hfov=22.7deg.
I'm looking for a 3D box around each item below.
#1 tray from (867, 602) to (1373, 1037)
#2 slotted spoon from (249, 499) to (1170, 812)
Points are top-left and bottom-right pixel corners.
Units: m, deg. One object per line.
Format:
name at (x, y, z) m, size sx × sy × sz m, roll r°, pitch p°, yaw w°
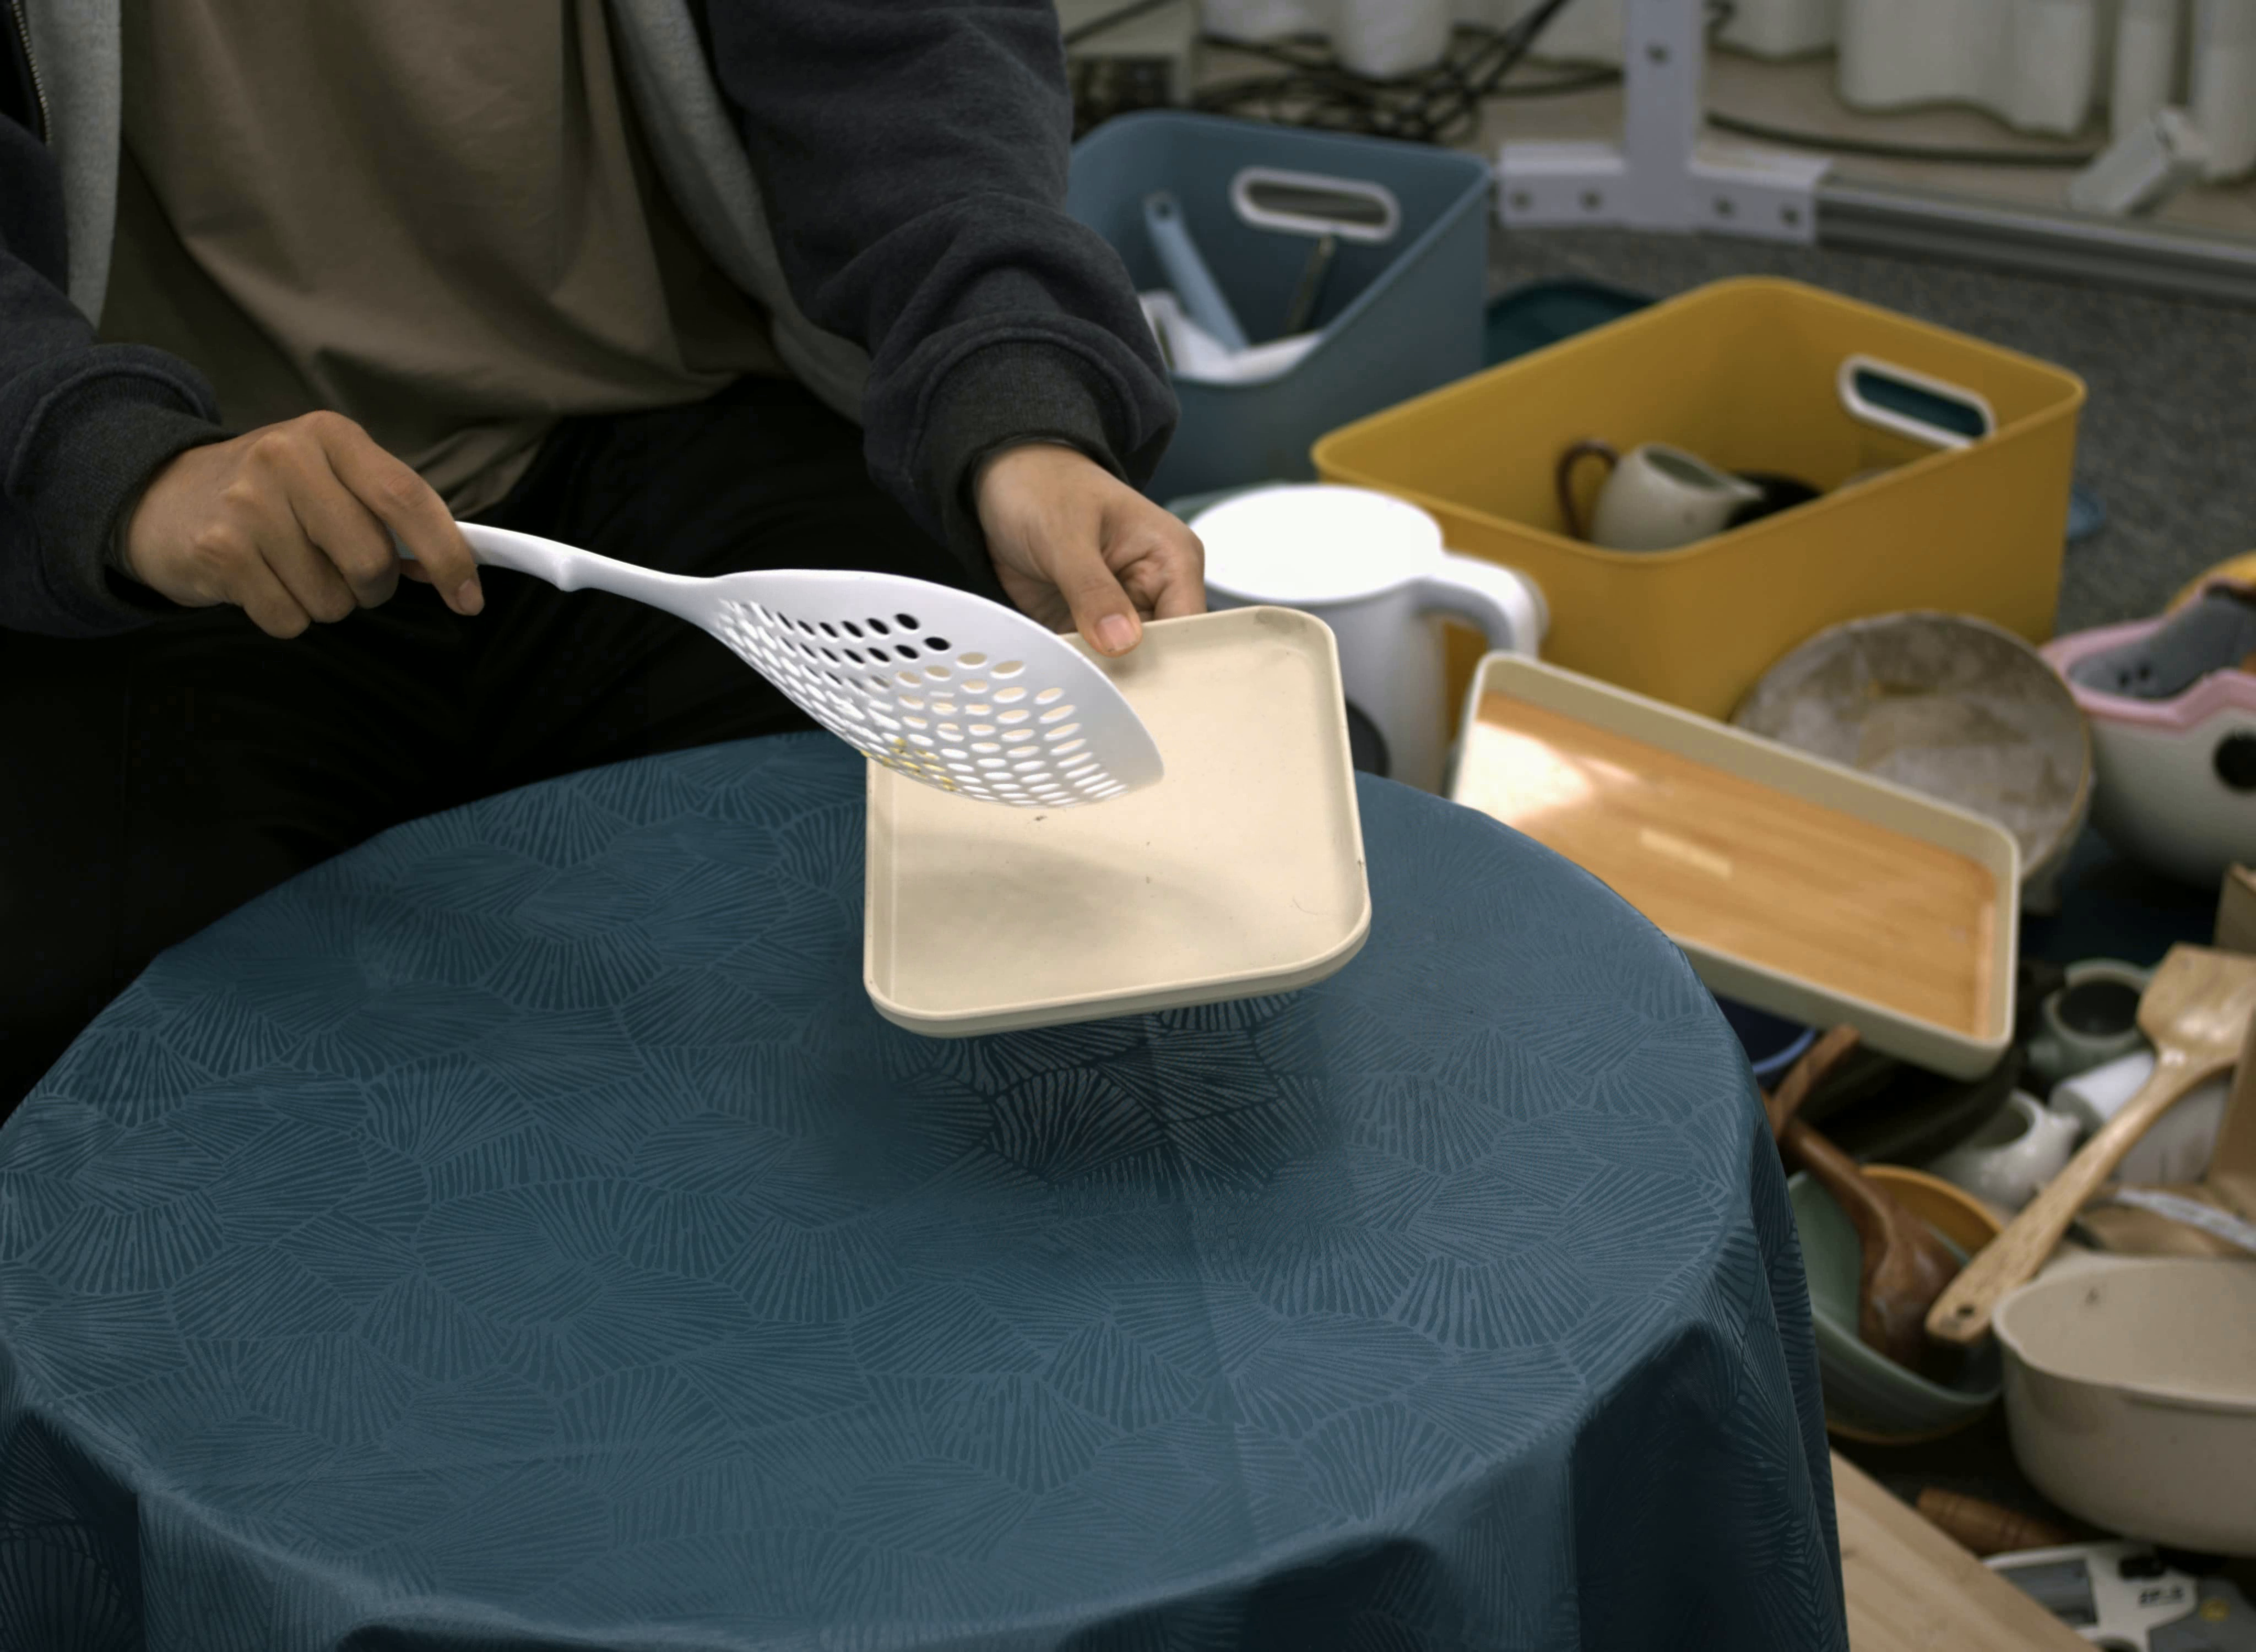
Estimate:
tray at (-0.005, -0.003, 1.929) m, size 0.170 × 0.017 × 0.243 m, roll -8°, pitch 31°, yaw 3°
slotted spoon at (-0.147, -0.068, 1.902) m, size 0.347 × 0.135 × 0.051 m, roll 21°, pitch 72°, yaw 26°
